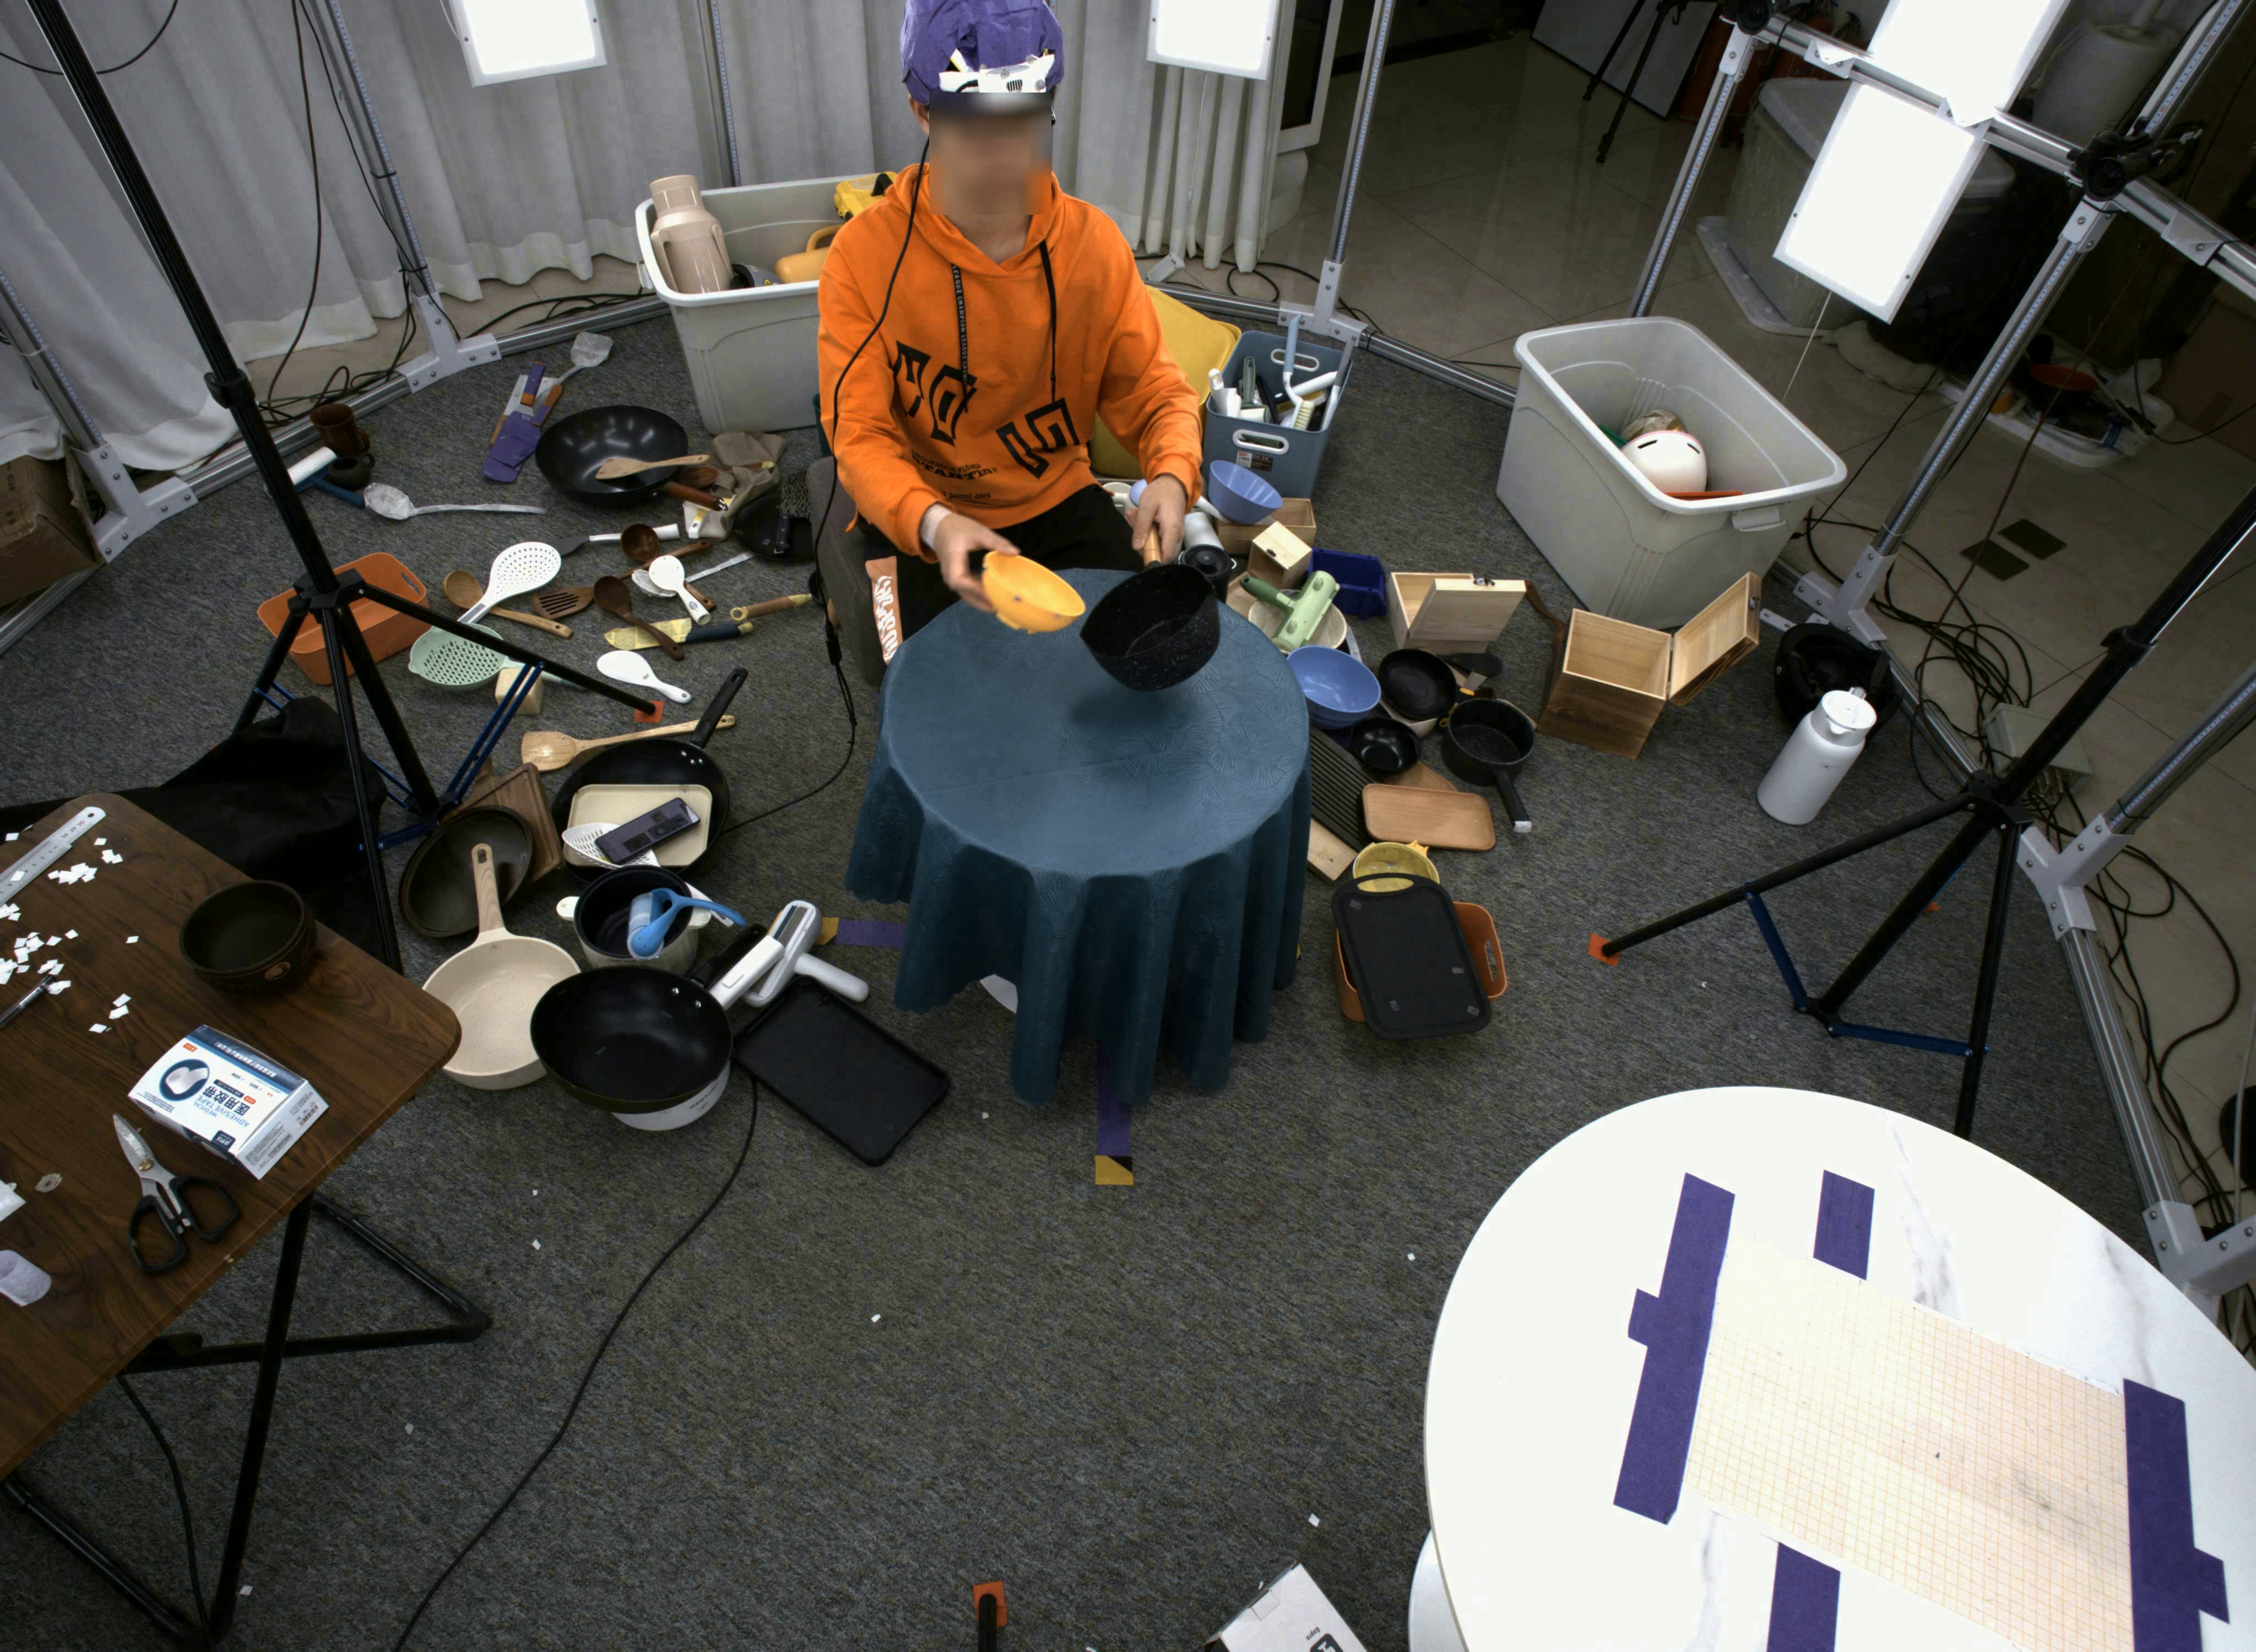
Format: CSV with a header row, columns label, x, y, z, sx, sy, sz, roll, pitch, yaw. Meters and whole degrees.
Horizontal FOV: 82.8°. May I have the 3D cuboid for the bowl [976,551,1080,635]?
label,x,y,z,sx,sy,sz,roll,pitch,yaw
bowl,-0.139,-0.291,1.667,0.144,0.059,0.148,24,27,-13

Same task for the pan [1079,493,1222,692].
label,x,y,z,sx,sy,sz,roll,pitch,yaw
pan,0.040,-0.330,1.801,0.207,0.106,0.351,-18,42,19
